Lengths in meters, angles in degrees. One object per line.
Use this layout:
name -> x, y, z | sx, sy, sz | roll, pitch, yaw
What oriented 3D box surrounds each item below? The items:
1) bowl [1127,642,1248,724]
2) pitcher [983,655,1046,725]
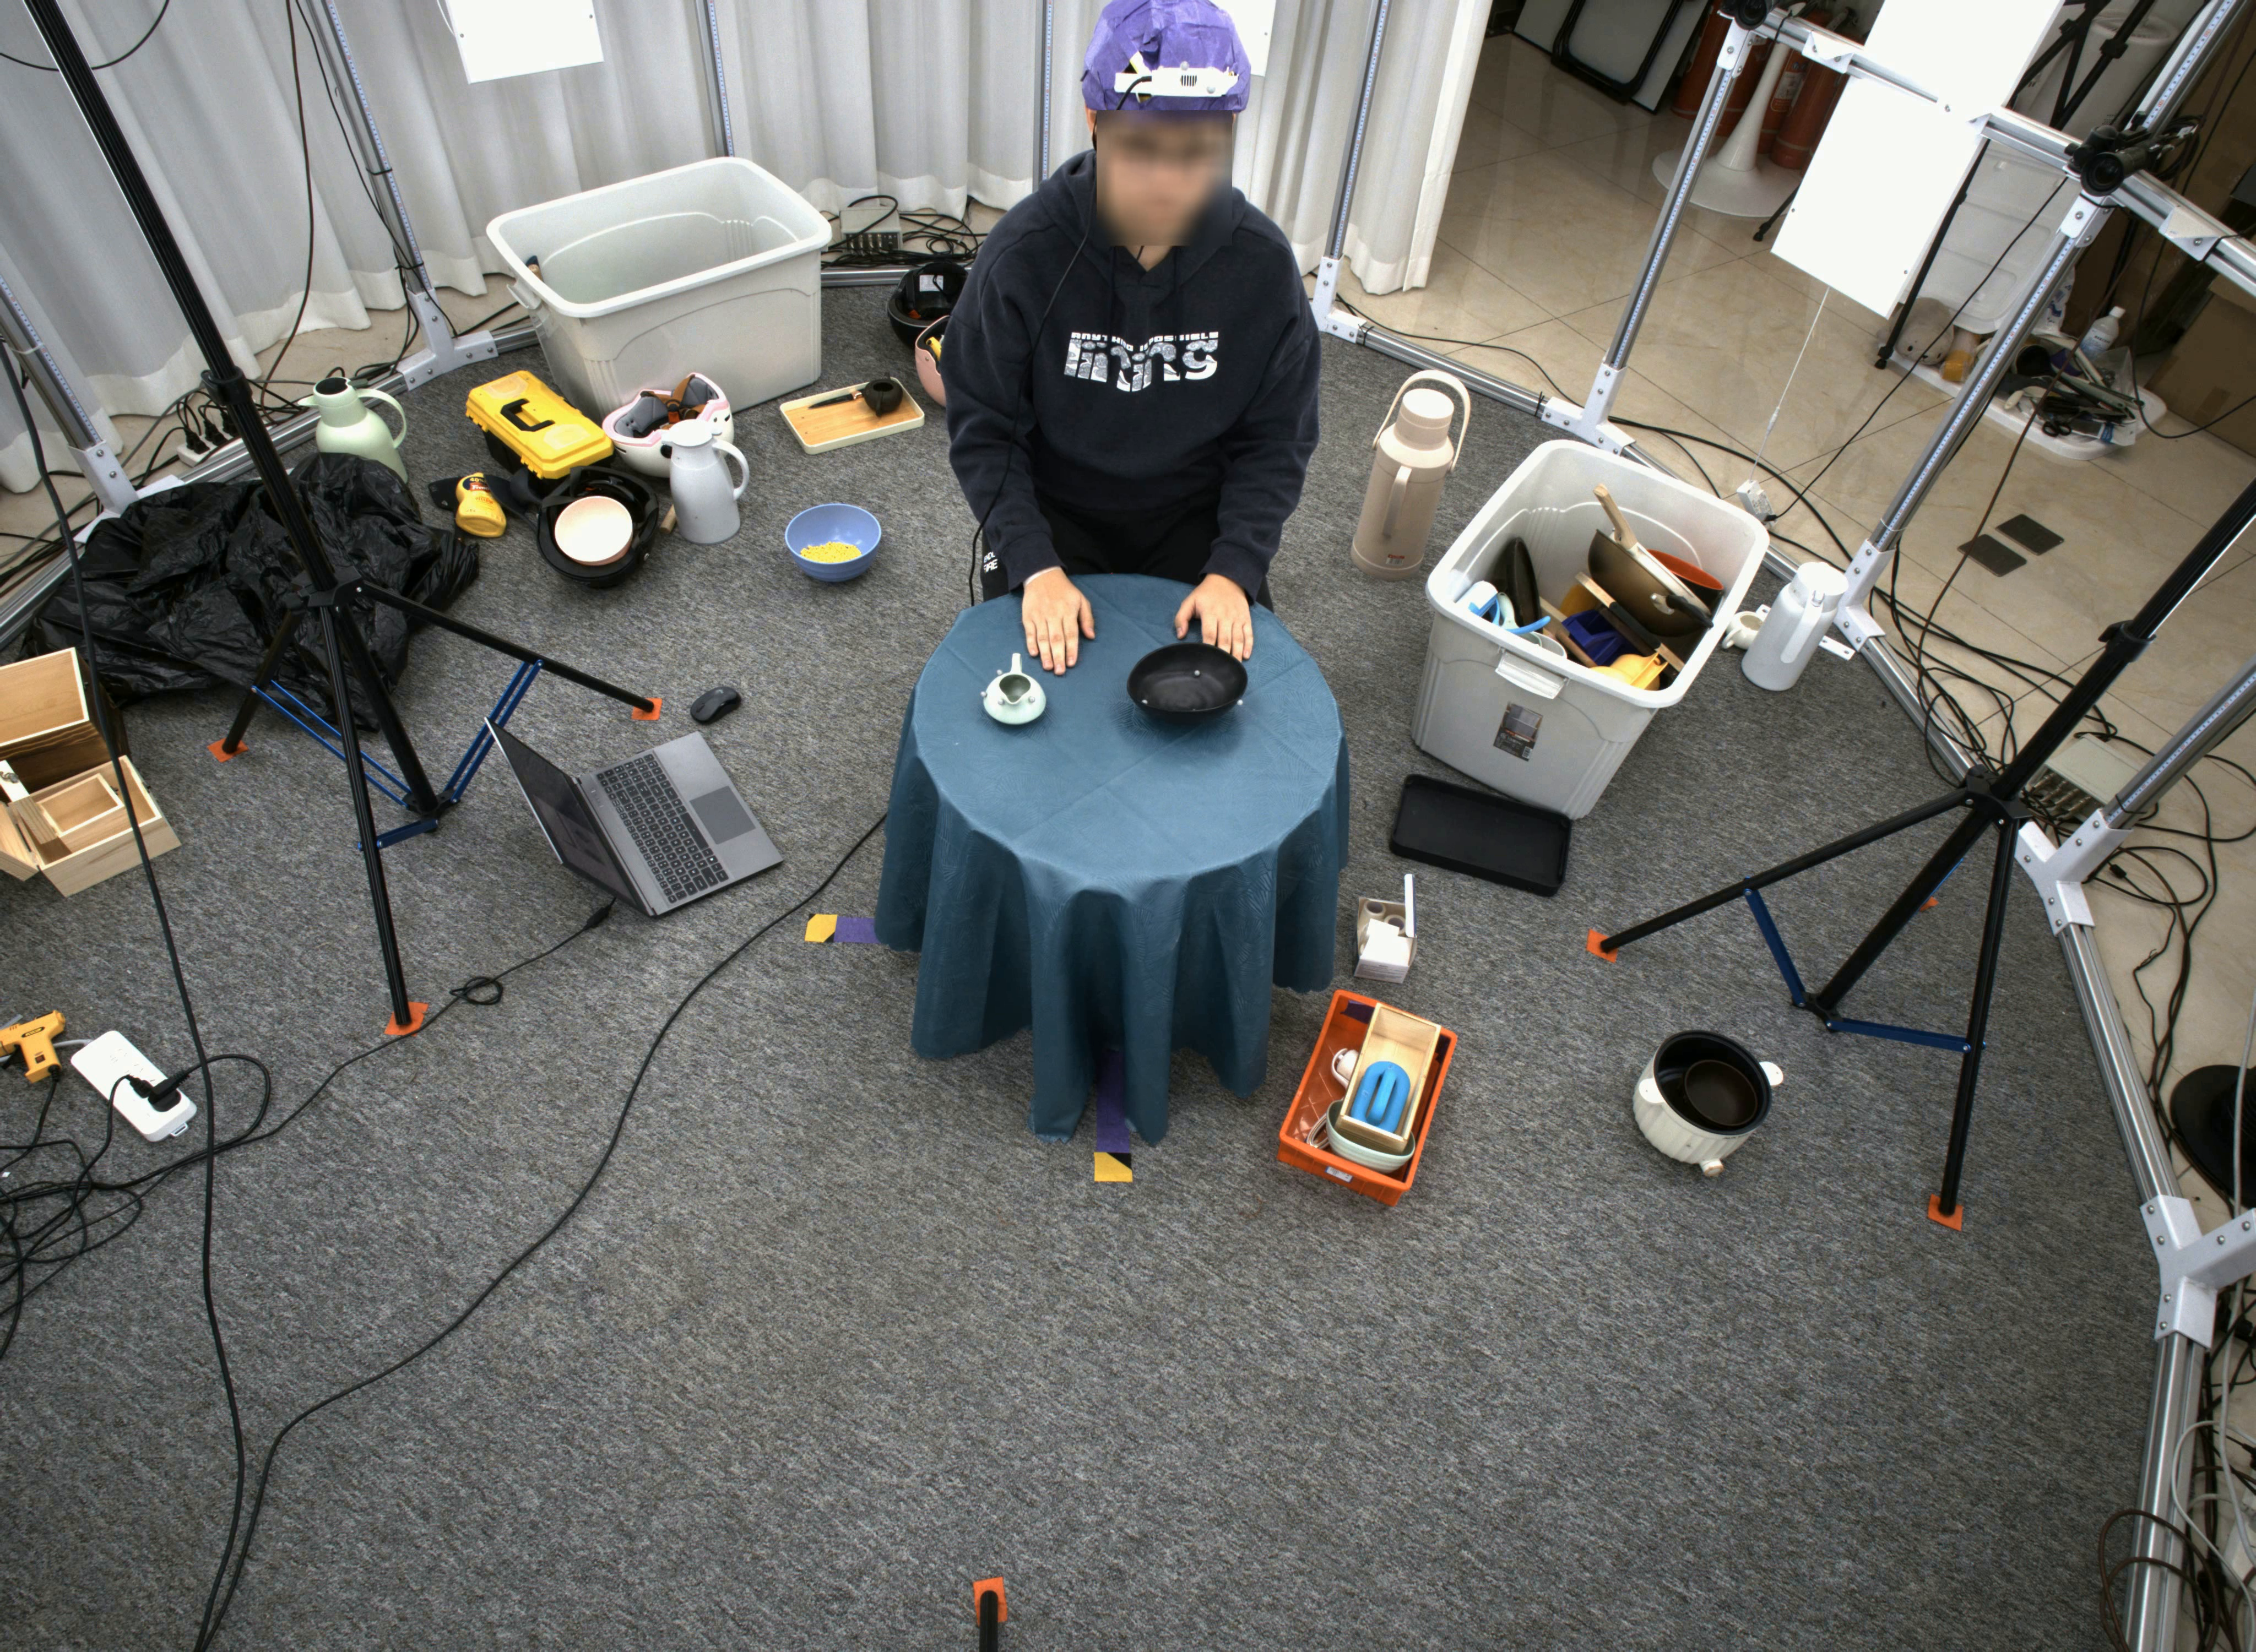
bowl -> 0.083, -0.187, 1.794 | 0.170, 0.065, 0.141 | -9, 50, -11
pitcher -> -0.156, -0.187, 1.780 | 0.086, 0.059, 0.111 | 2, 47, -4
